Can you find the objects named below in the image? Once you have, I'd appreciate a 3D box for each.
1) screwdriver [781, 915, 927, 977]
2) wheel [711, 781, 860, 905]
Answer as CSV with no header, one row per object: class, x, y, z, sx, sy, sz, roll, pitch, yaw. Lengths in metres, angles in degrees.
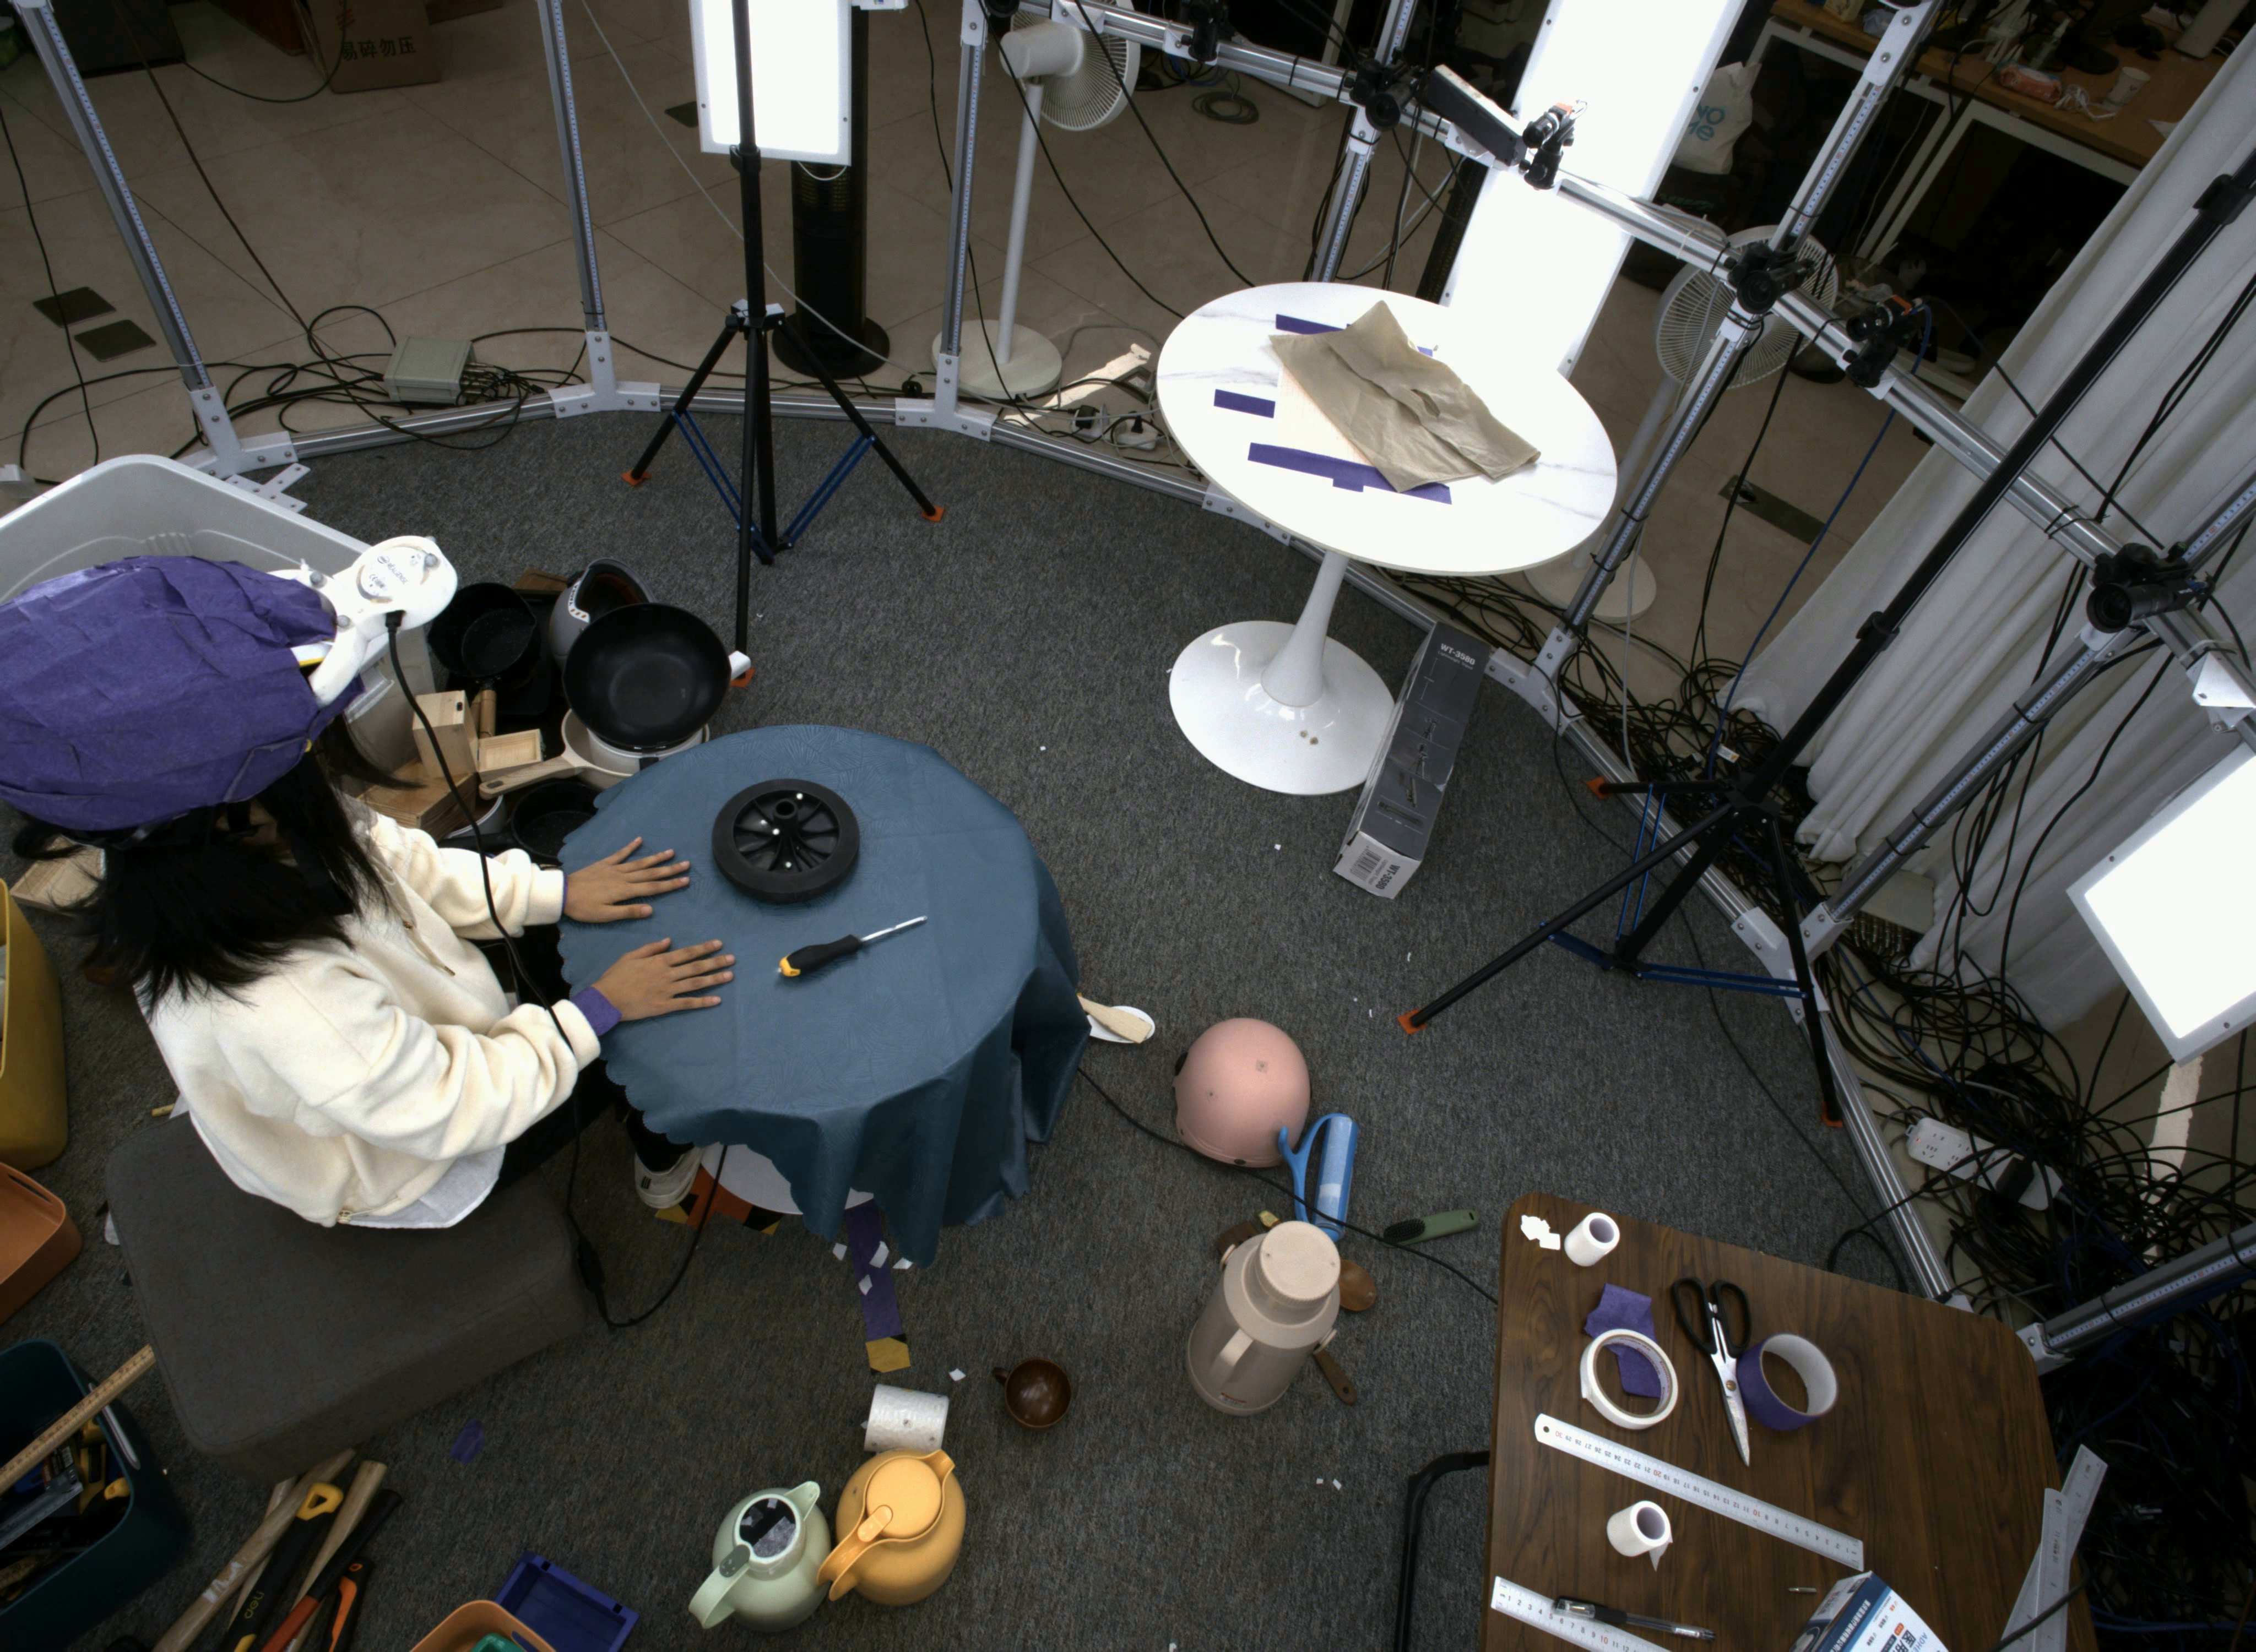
screwdriver,-0.340,0.140,1.621,0.197,0.032,0.030,-23,60,-31
wheel,-0.440,0.005,1.663,0.188,0.080,0.186,23,52,1
